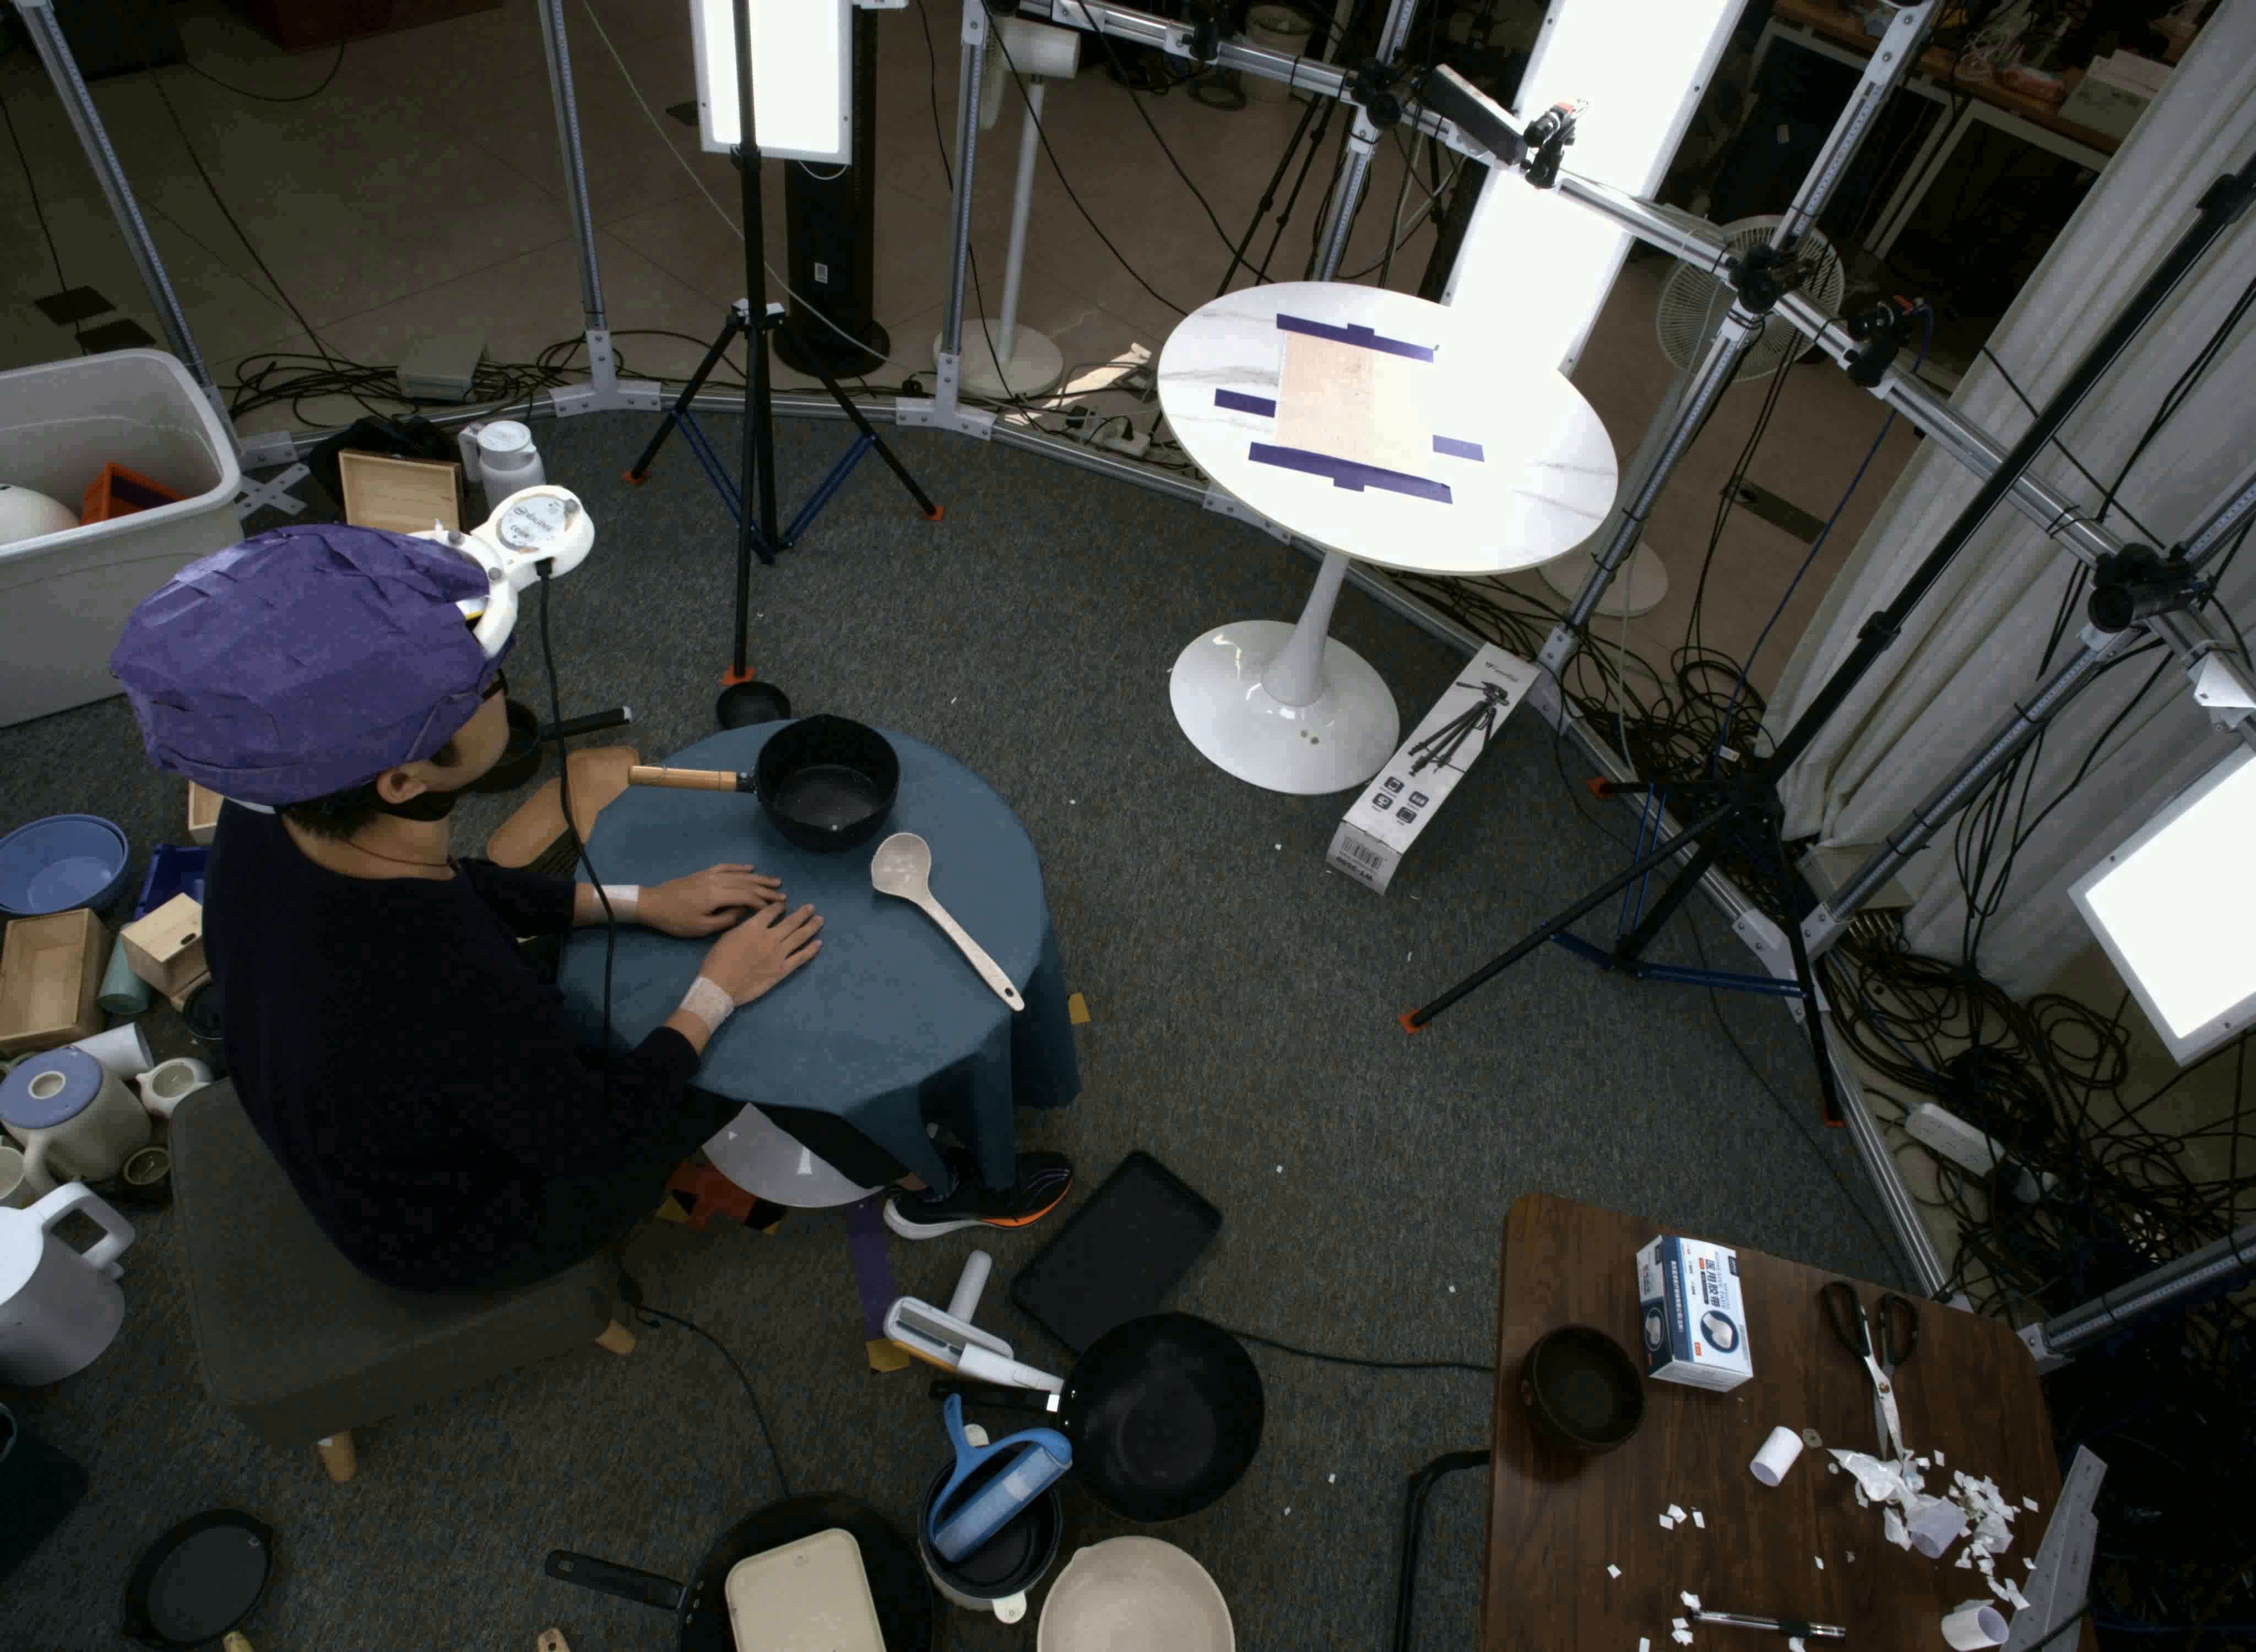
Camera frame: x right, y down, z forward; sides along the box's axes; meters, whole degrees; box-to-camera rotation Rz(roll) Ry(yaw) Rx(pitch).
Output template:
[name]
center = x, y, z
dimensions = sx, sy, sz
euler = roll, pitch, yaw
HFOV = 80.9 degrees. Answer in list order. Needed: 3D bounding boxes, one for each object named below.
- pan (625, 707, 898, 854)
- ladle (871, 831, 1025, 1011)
[pan]
center = -0.469, -0.050, 1.669
dimensions = 0.344, 0.110, 0.203
euler = -5, 56, -20
[ladle]
center = -0.218, 0.117, 1.639
dimensions = 0.269, 0.070, 0.090
euler = 43, 48, 17
